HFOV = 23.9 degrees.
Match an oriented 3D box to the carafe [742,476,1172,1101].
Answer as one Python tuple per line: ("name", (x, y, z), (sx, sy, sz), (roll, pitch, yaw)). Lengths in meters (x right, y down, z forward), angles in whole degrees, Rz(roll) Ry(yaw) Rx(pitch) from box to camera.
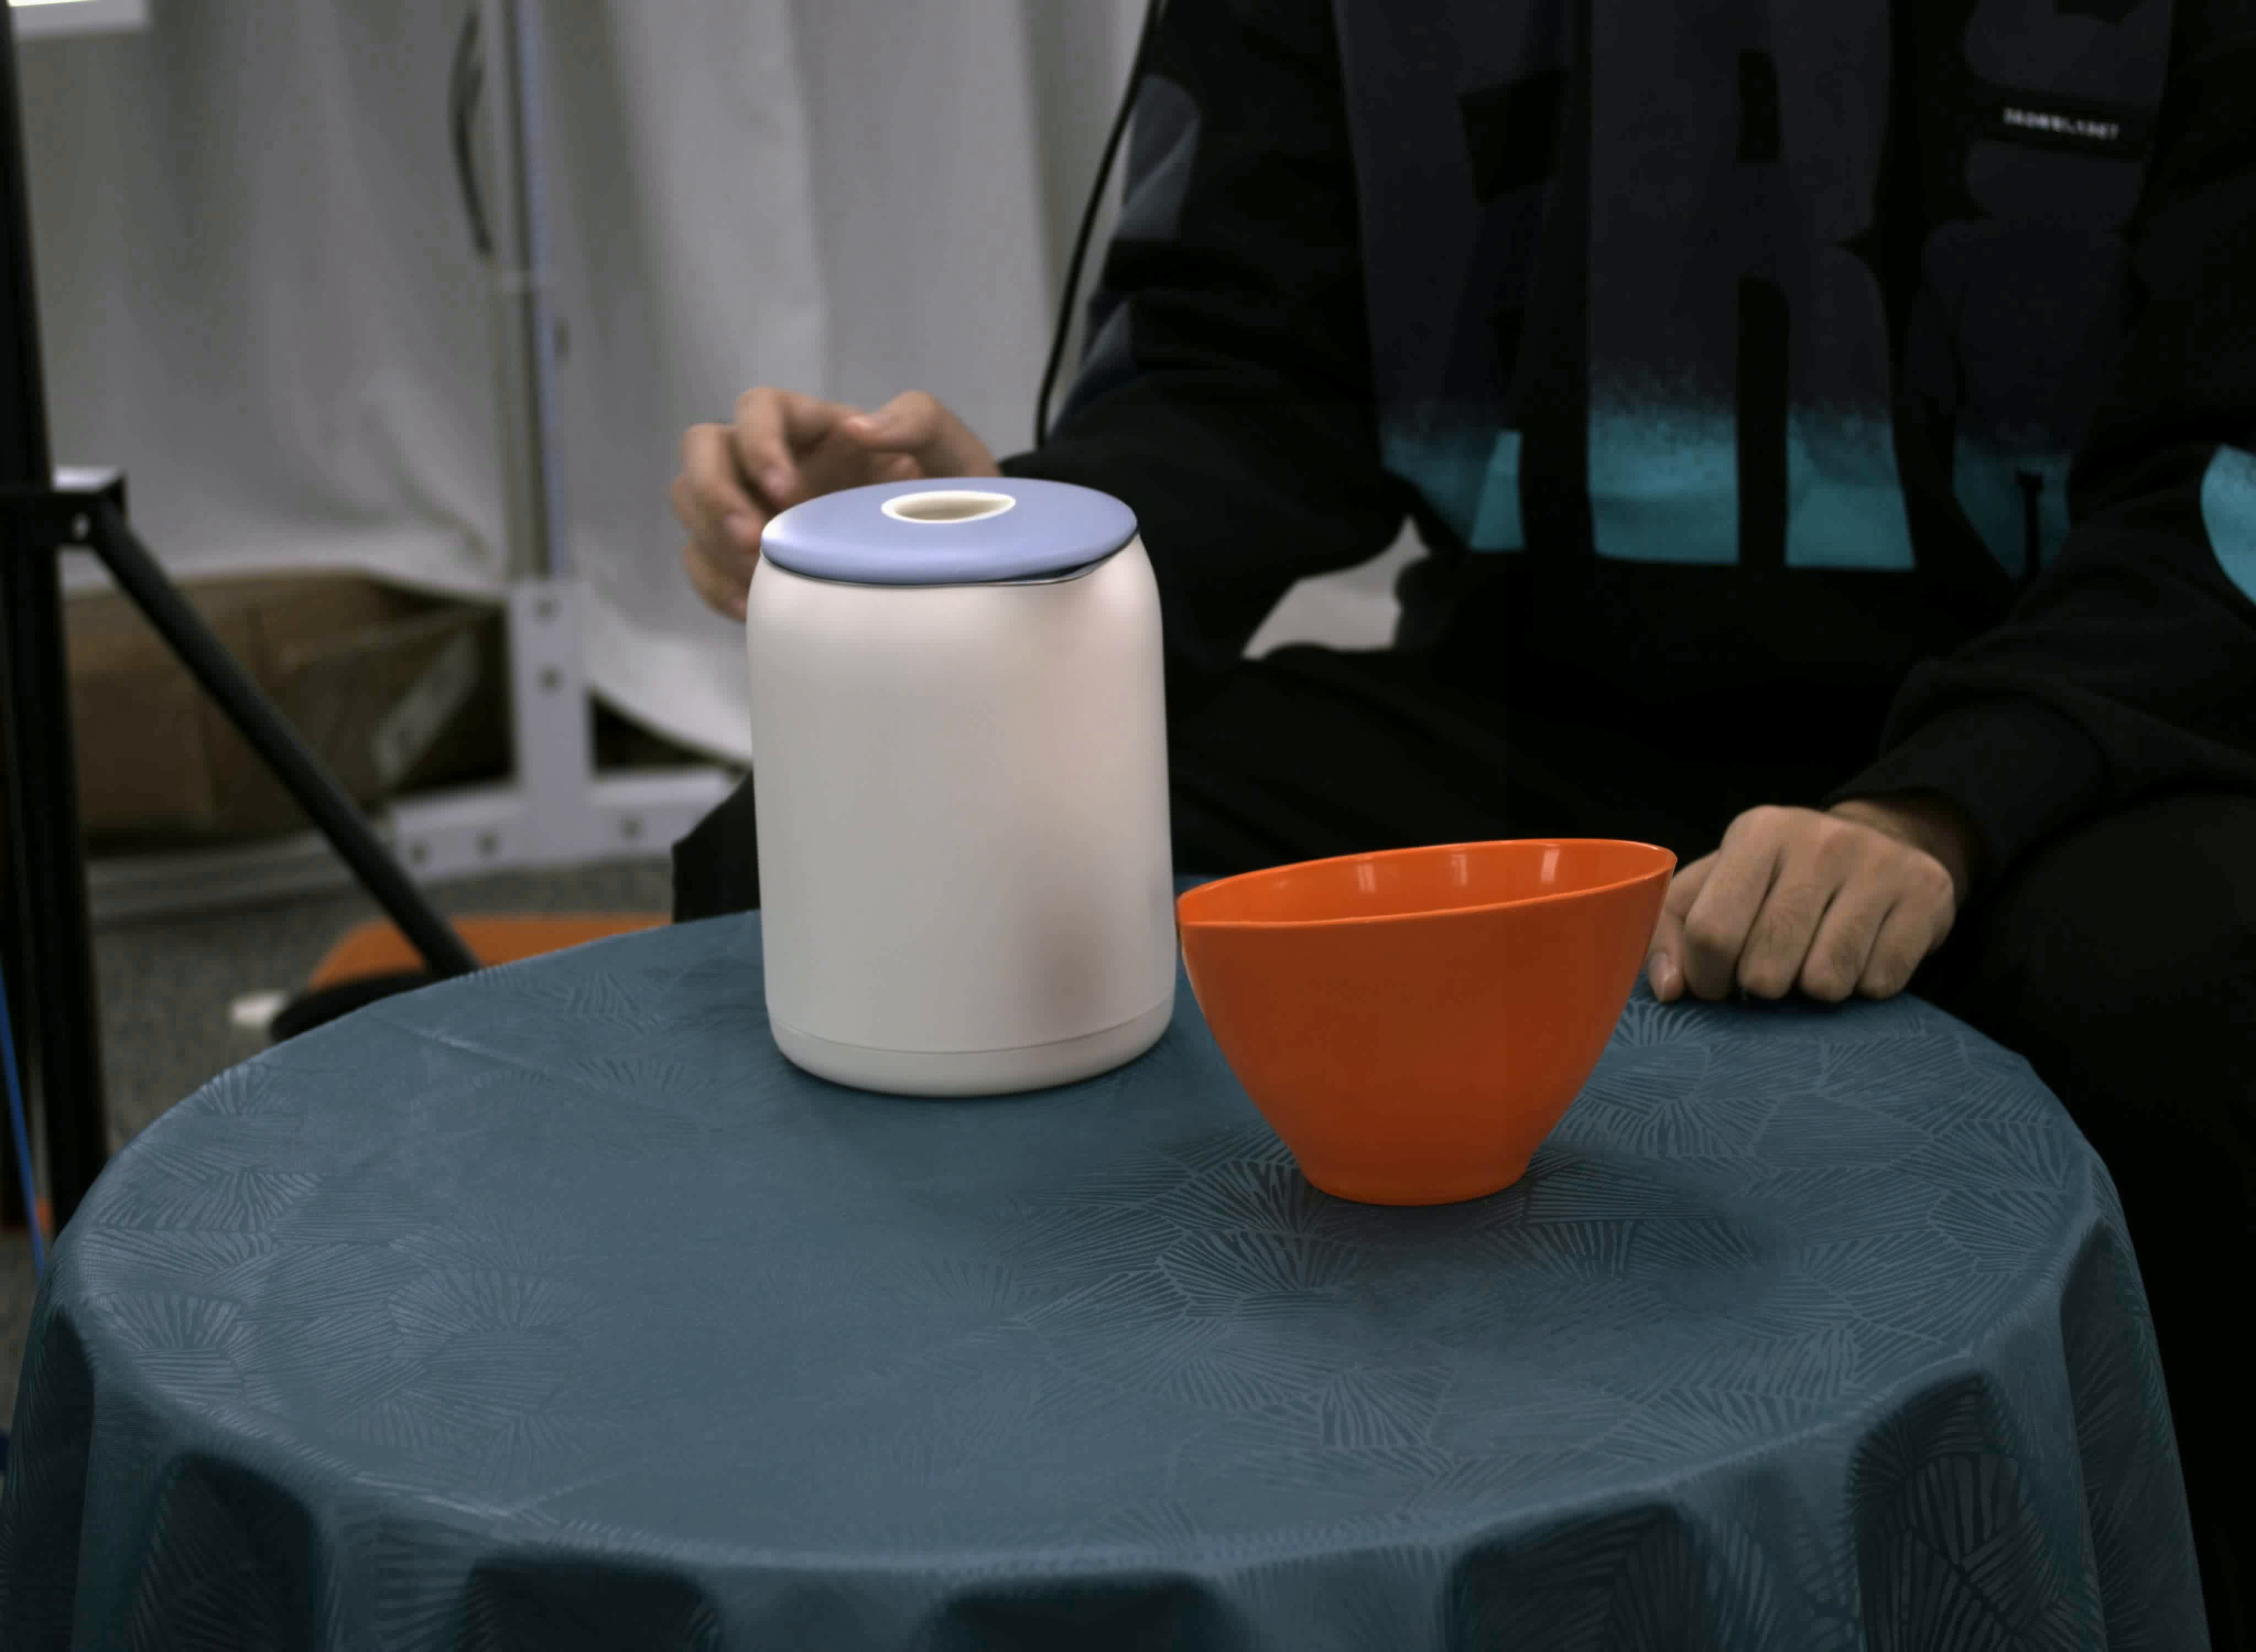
("carafe", (-0.067, -0.017, 1.701), (0.129, 0.182, 0.195), (-11, 15, -32))

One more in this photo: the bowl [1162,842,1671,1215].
("bowl", (0.084, 0.057, 1.540), (0.147, 0.104, 0.149), (-3, 16, -1))
